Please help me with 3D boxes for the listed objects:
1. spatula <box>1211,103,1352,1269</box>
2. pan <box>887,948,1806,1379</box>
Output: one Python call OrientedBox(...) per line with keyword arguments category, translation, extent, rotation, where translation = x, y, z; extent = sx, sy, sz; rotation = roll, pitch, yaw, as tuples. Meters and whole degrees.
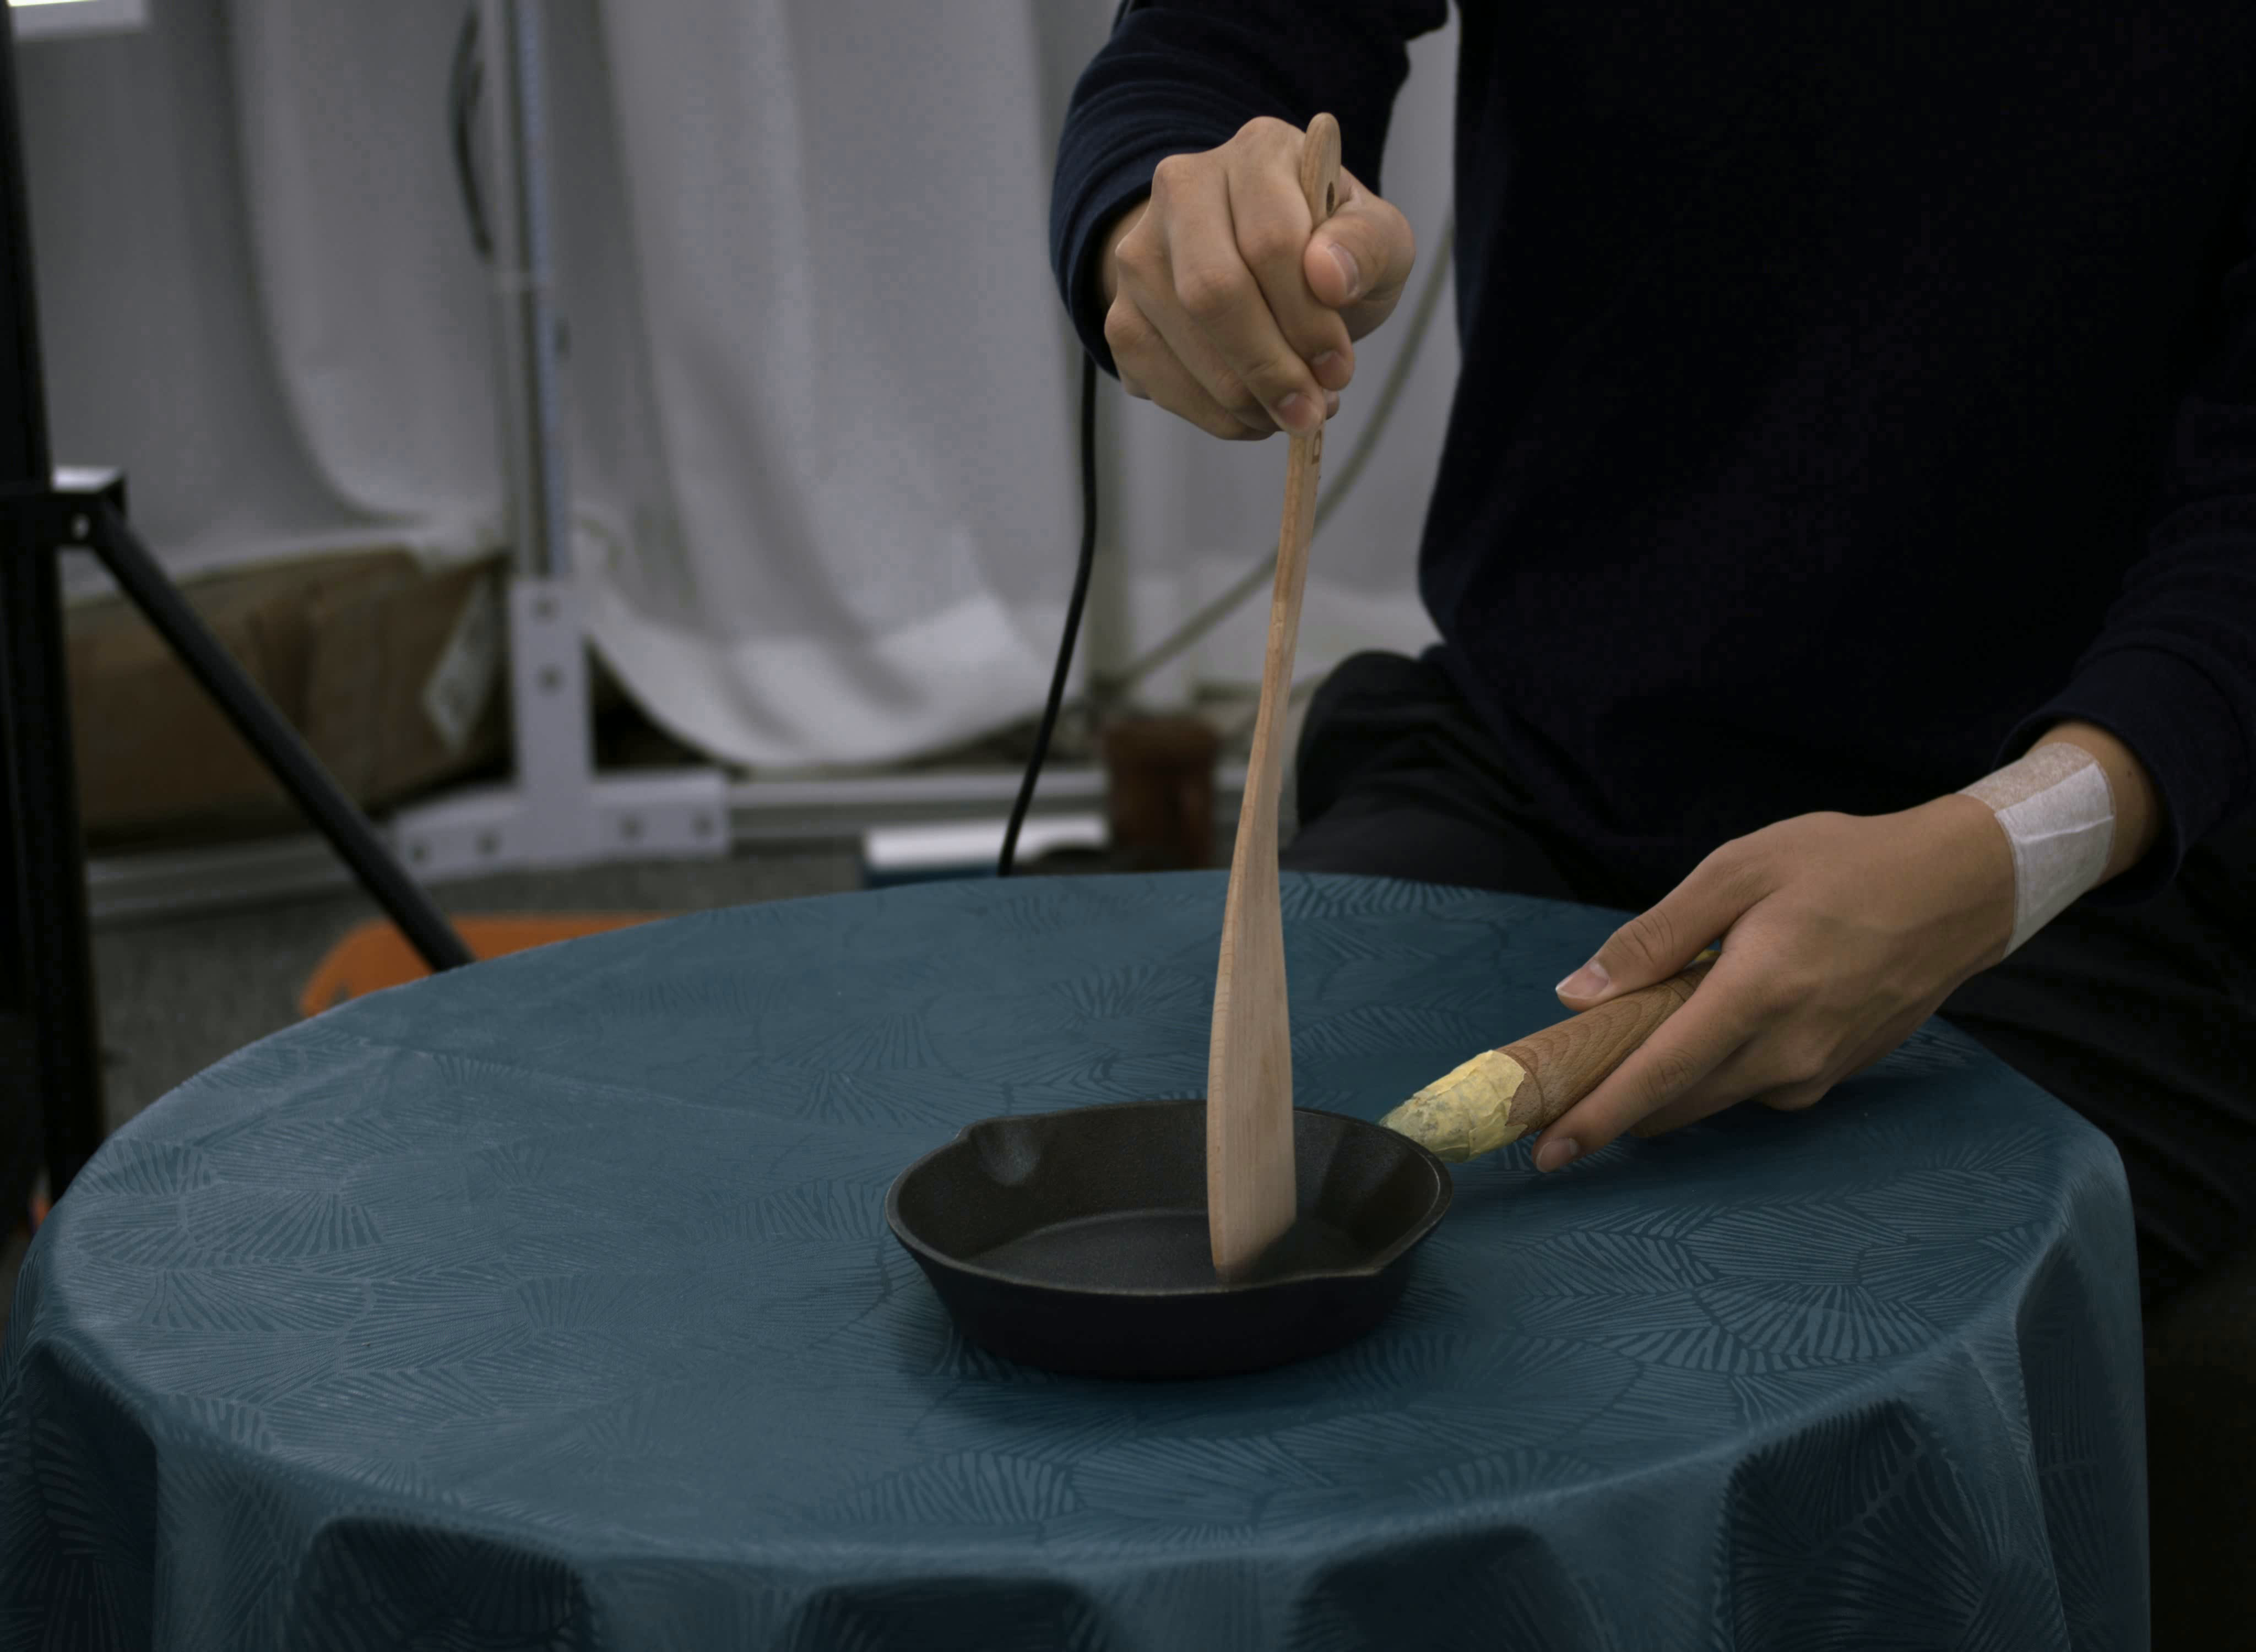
OrientedBox(category="spatula", translation=(0.045, -0.031, 1.451), extent=(0.016, 0.328, 0.079), rotation=(8, 10, 13))
OrientedBox(category="pan", translation=(0.078, 0.092, 1.511), extent=(0.317, 0.049, 0.173), rotation=(-15, 20, -34))
